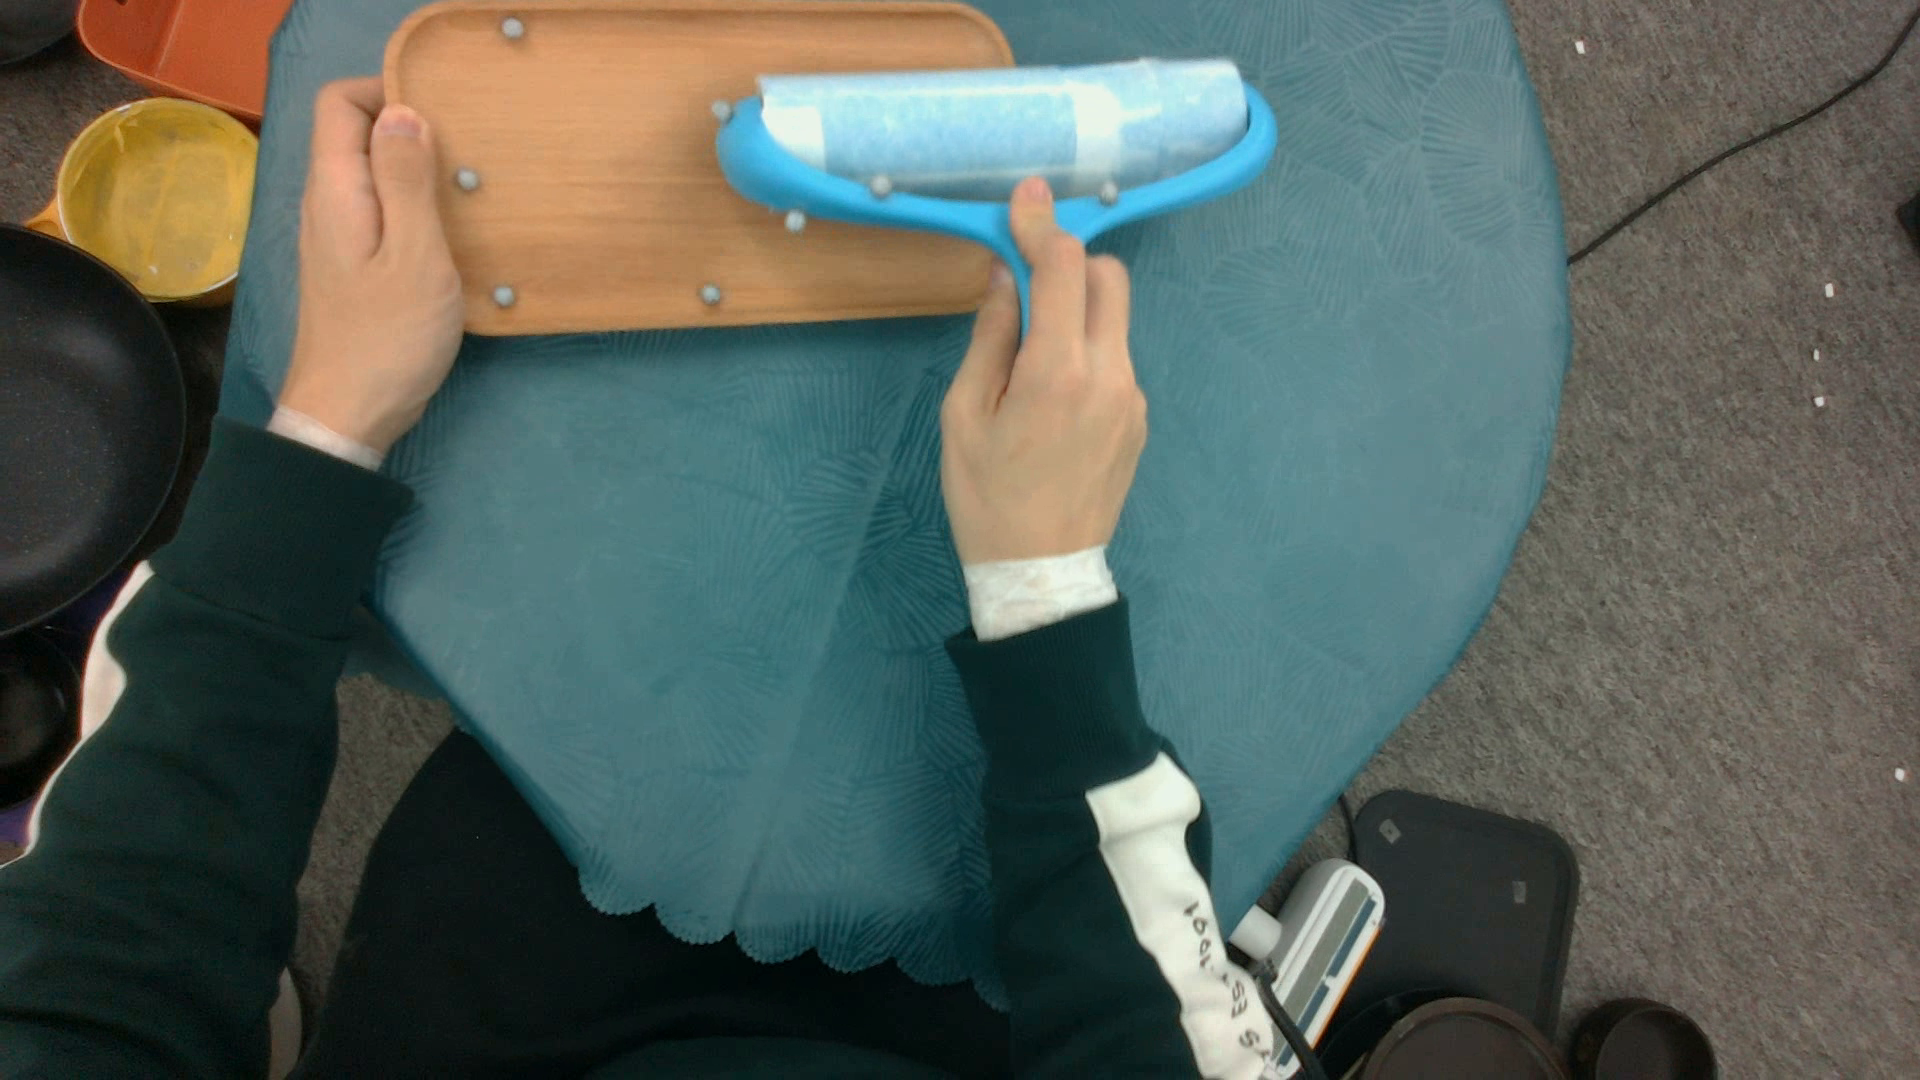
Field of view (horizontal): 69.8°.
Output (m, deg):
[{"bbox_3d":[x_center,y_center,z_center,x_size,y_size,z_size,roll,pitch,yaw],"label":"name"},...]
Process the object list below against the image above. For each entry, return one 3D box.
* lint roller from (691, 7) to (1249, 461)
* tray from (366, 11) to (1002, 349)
[{"bbox_3d":[0.019,-0.126,0.548,0.229,0.067,0.180,-10,78,-14],"label":"lint roller"},{"bbox_3d":[-0.105,-0.149,0.567,0.251,0.023,0.130,-5,103,-16],"label":"tray"}]
